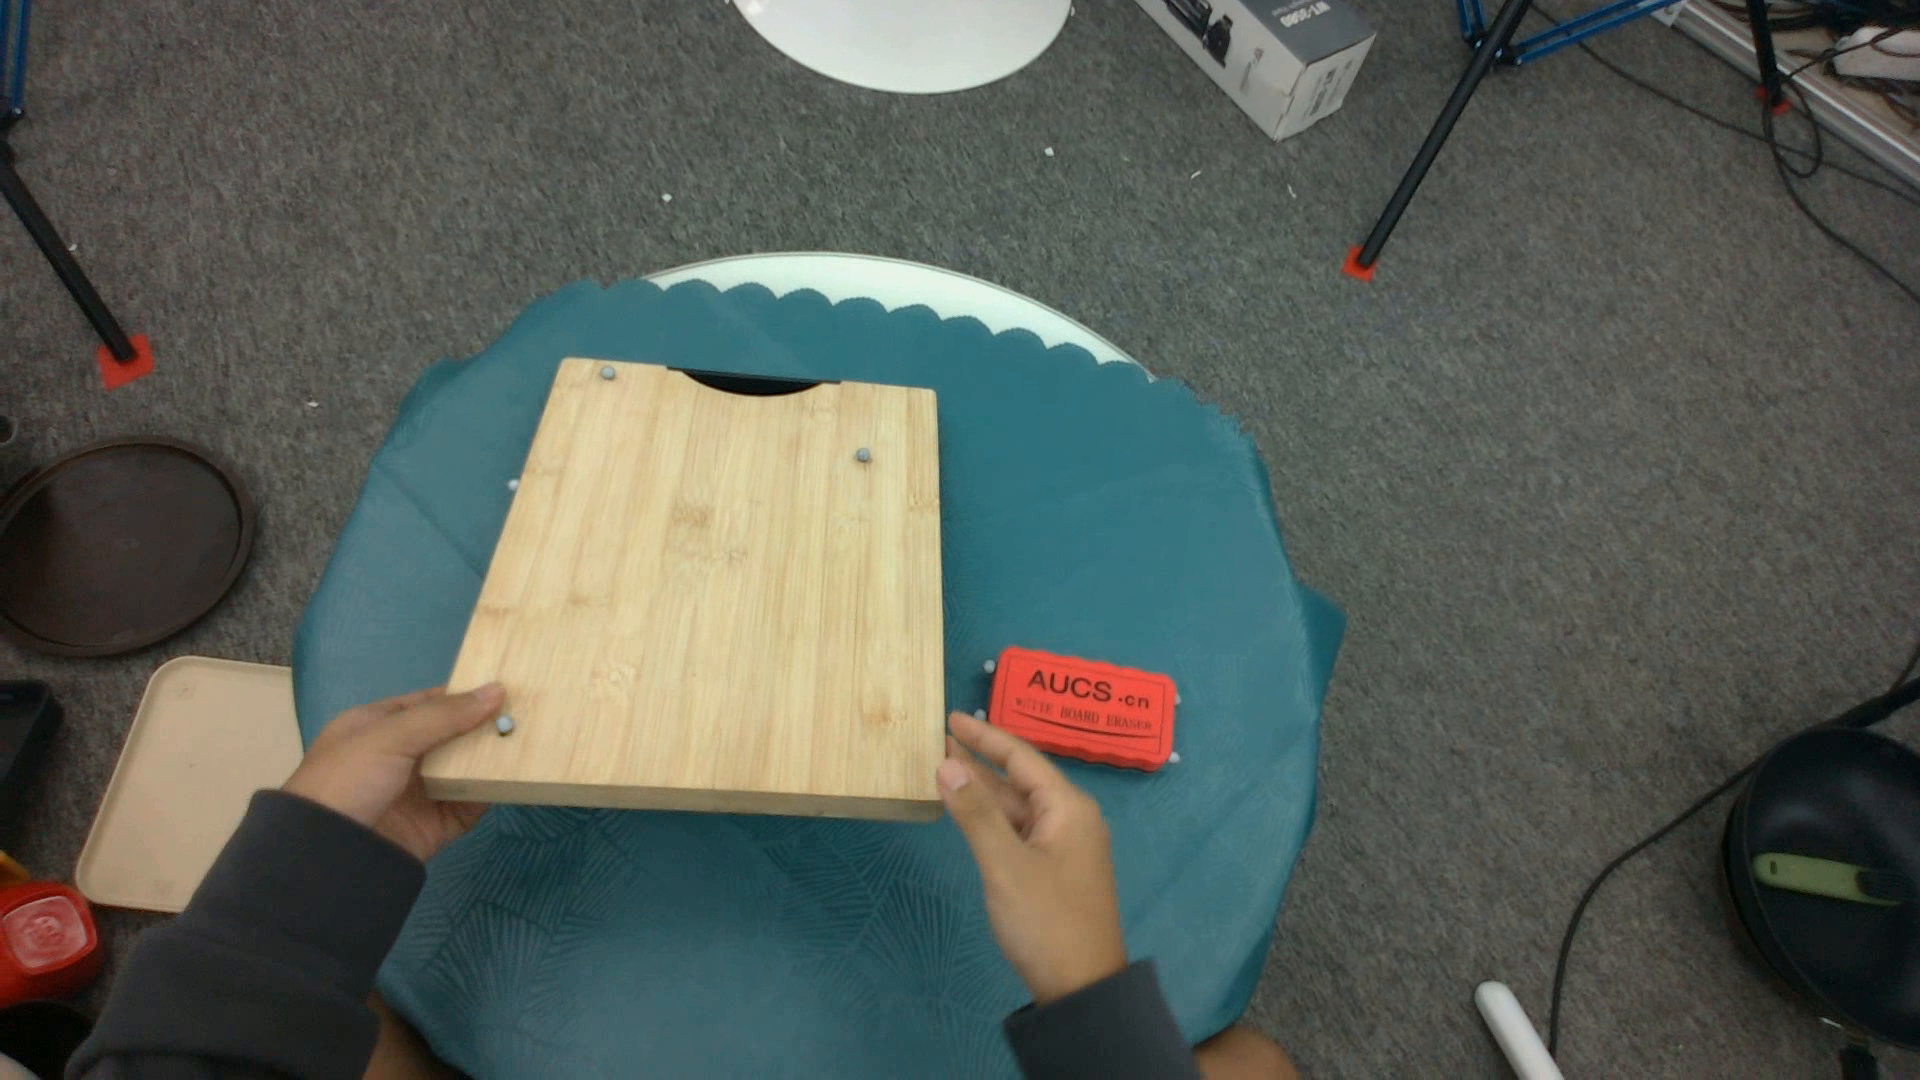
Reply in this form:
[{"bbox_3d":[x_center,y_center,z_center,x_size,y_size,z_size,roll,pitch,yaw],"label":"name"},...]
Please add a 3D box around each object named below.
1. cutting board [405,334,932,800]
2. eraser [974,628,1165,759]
[{"bbox_3d":[-0.138,-0.002,0.770,0.251,0.023,0.350,4,41,-7],"label":"cutting board"},{"bbox_3d":[0.065,0.090,0.810,0.108,0.023,0.059,12,59,-2],"label":"eraser"}]
